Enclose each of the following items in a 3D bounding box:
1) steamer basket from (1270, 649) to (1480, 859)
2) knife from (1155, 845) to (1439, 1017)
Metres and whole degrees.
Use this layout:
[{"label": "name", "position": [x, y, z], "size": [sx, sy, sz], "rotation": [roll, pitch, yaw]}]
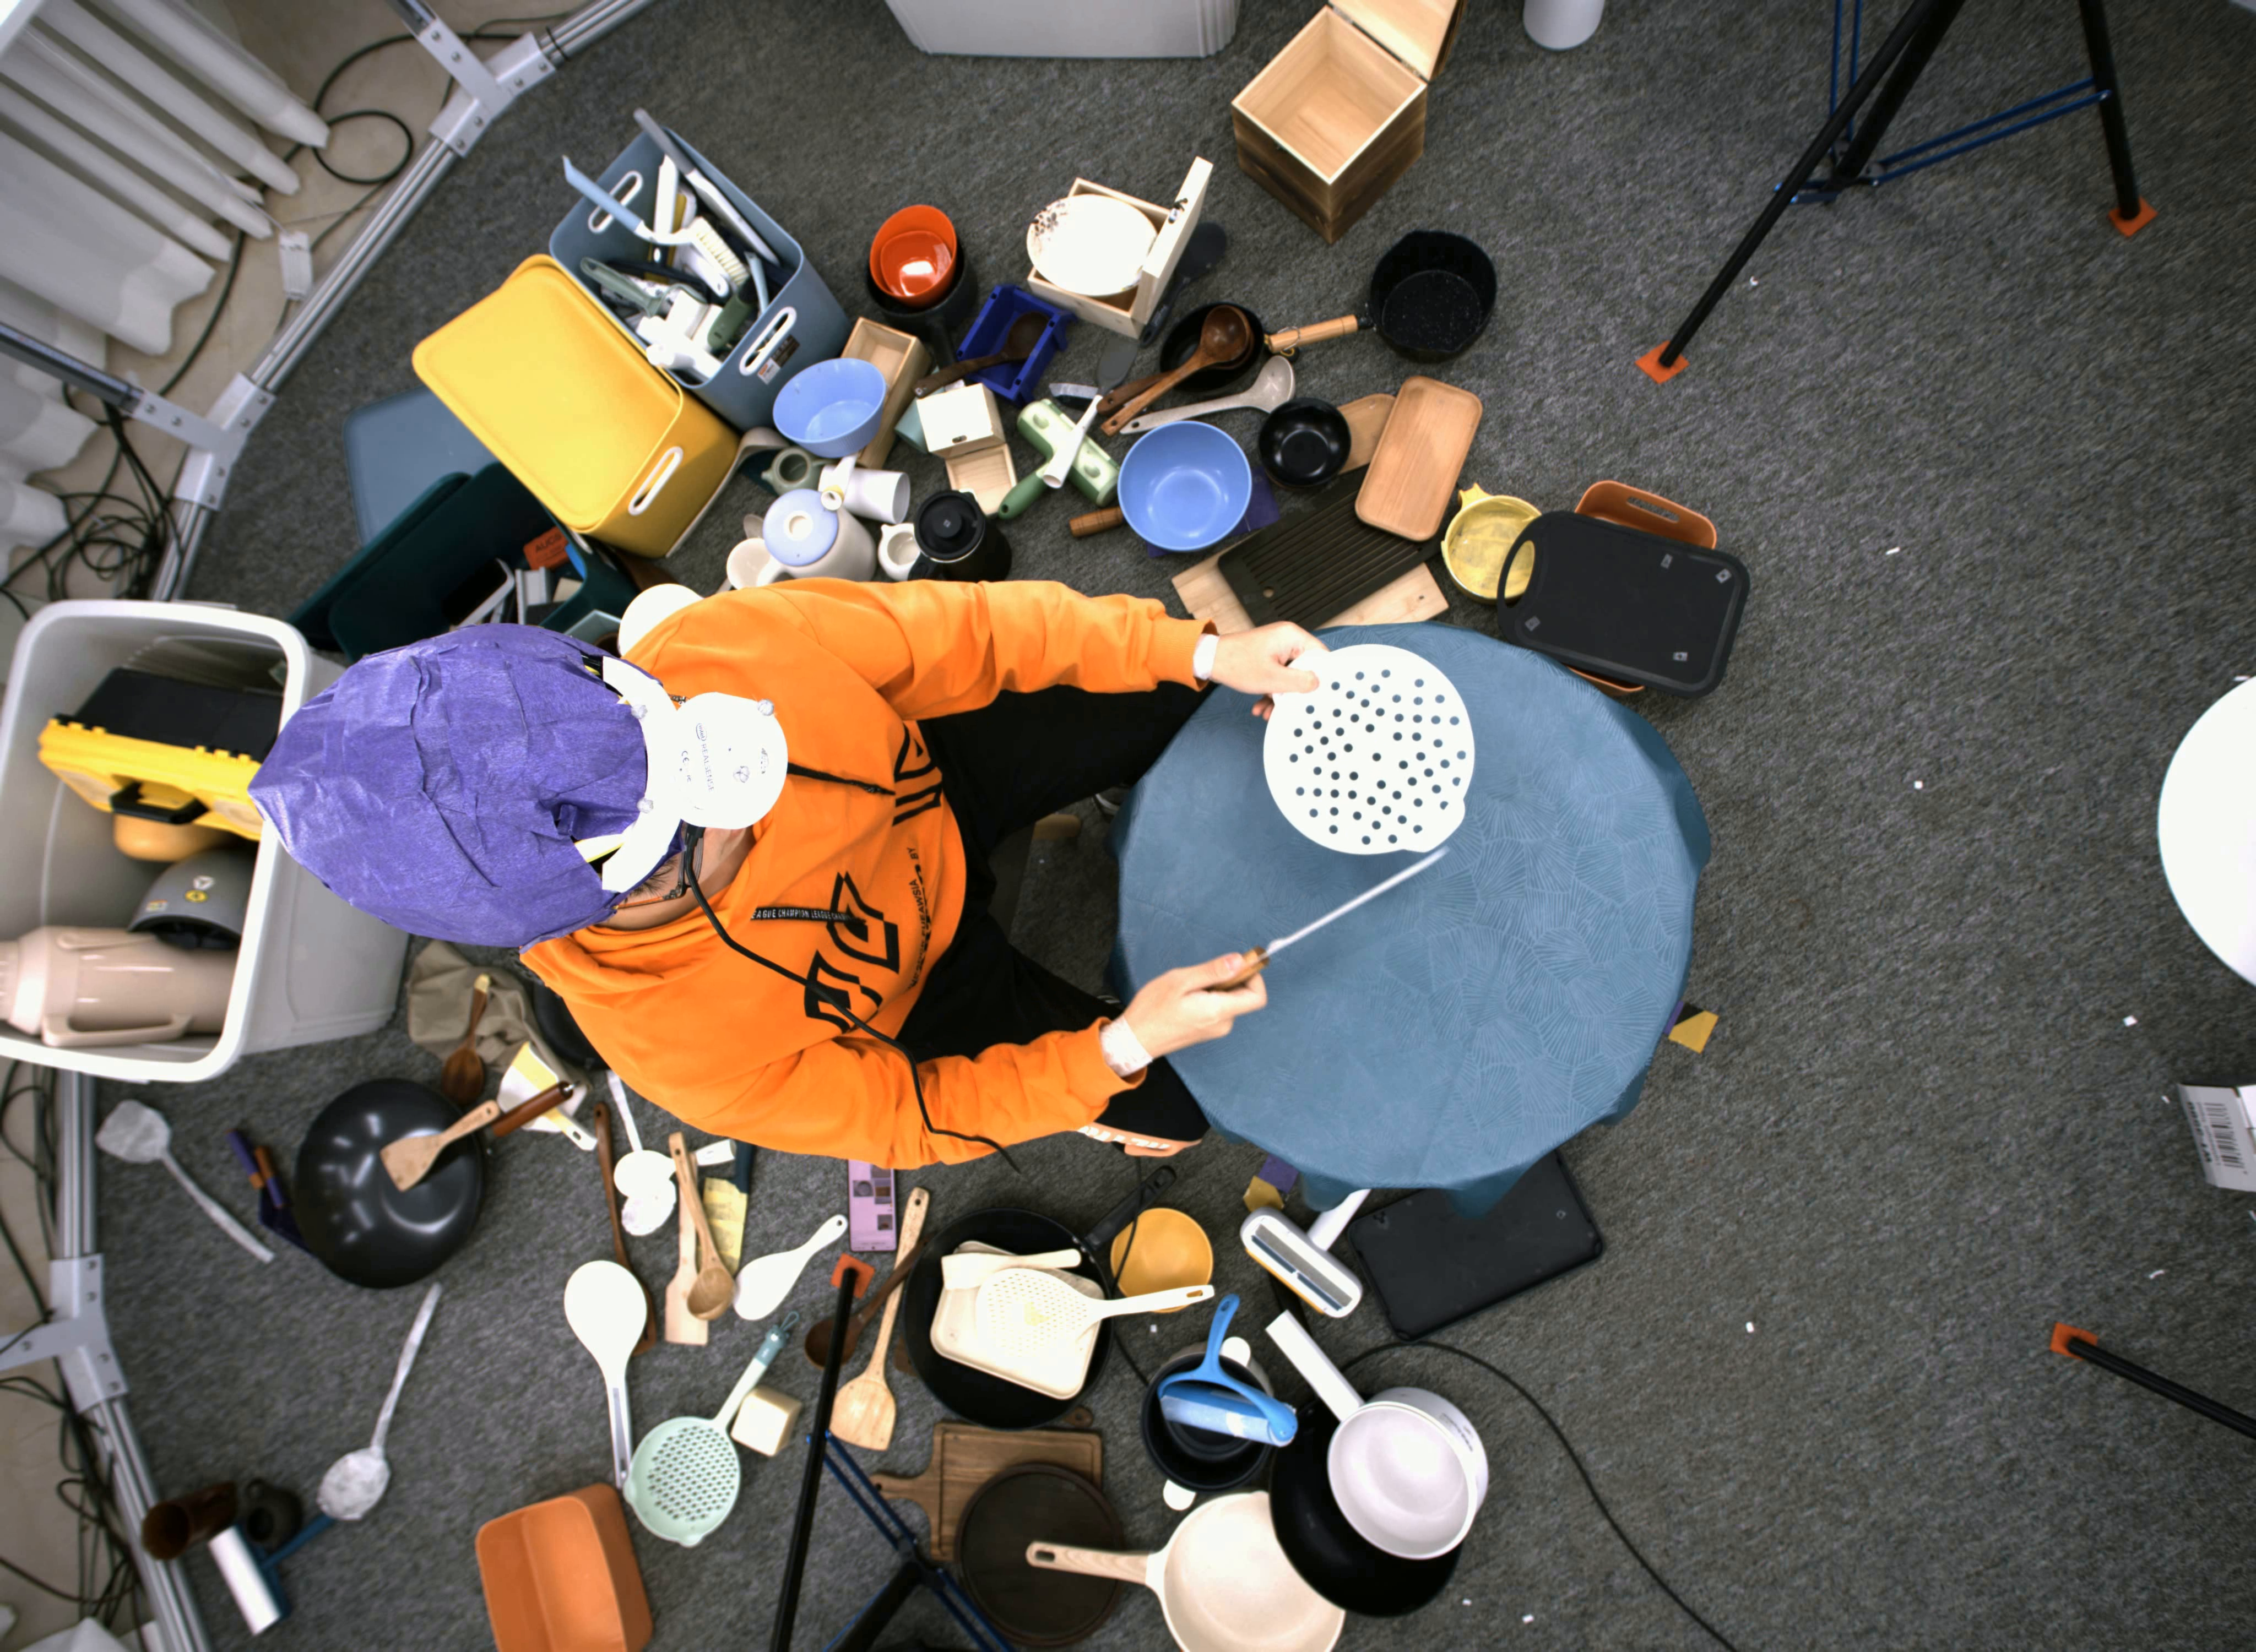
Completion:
[{"label": "steamer basket", "position": [0.242, -0.068, 1.337], "size": [0.204, 0.069, 0.229], "rotation": [-45, 77, 14]}, {"label": "knife", "position": [0.158, 0.096, 1.299], "size": [0.311, 0.091, 0.021], "rotation": [-34, 84, 27]}]
